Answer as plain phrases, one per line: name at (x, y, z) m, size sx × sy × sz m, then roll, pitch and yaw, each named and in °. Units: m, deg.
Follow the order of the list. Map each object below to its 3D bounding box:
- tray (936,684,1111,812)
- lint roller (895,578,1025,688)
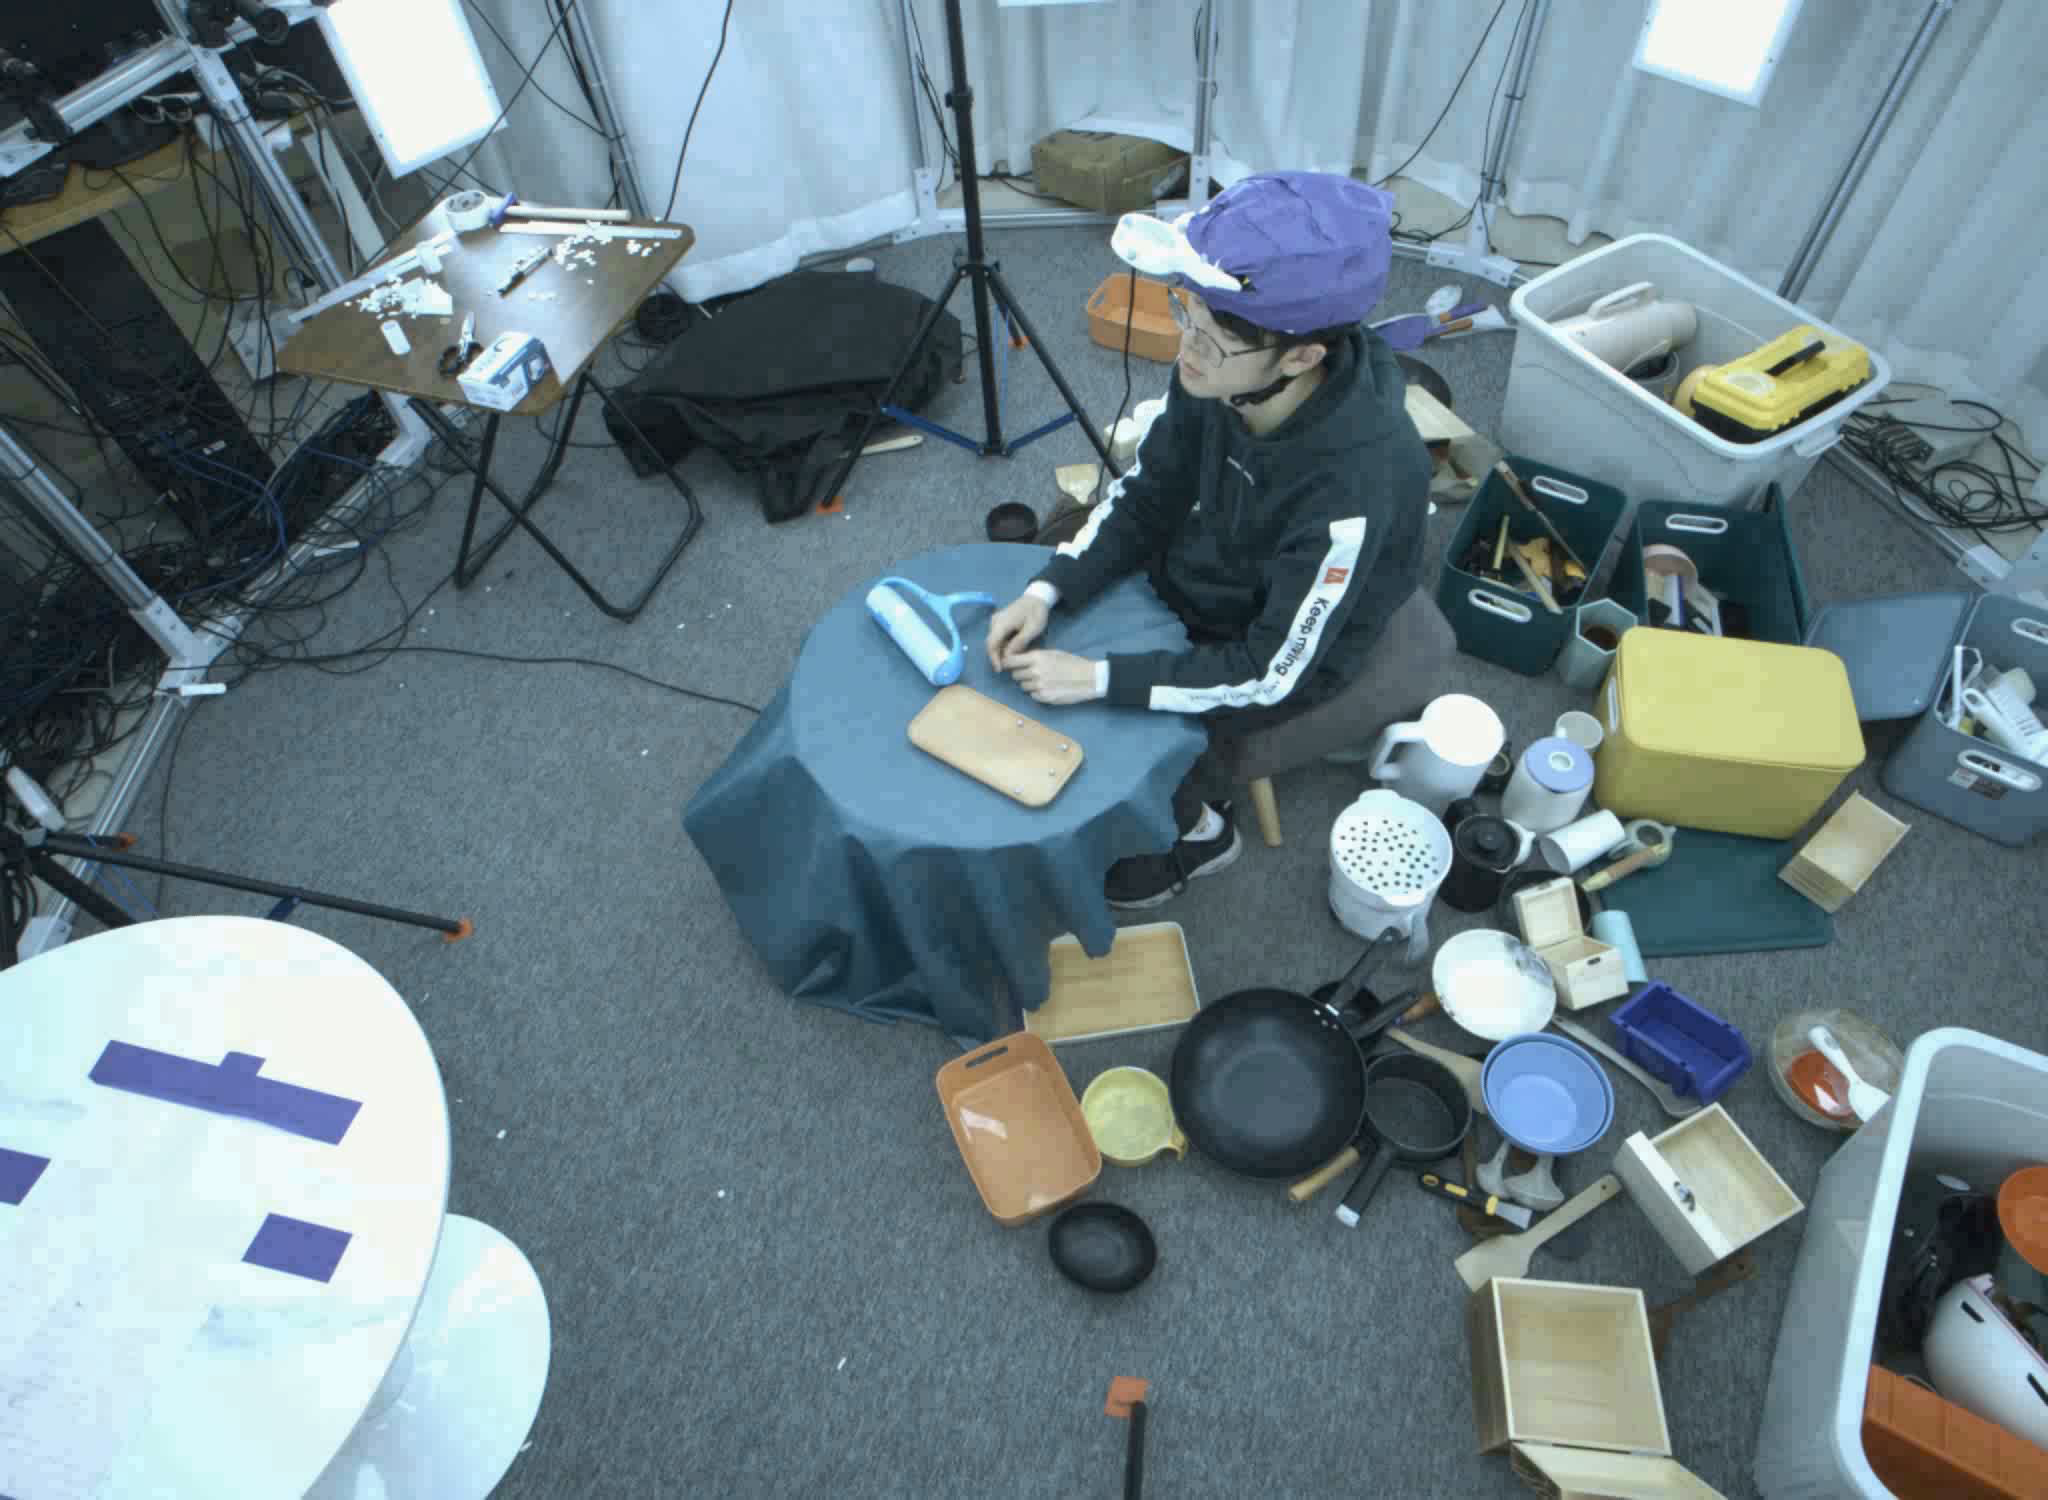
tray at (-0.002, -0.005, 1.776) m, size 0.246 × 0.023 × 0.131 m, roll 30°, pitch 58°, yaw 22°
lint roller at (-0.080, -0.206, 1.897) m, size 0.181 × 0.069 × 0.224 m, roll -32°, pitch 58°, yaw -19°
